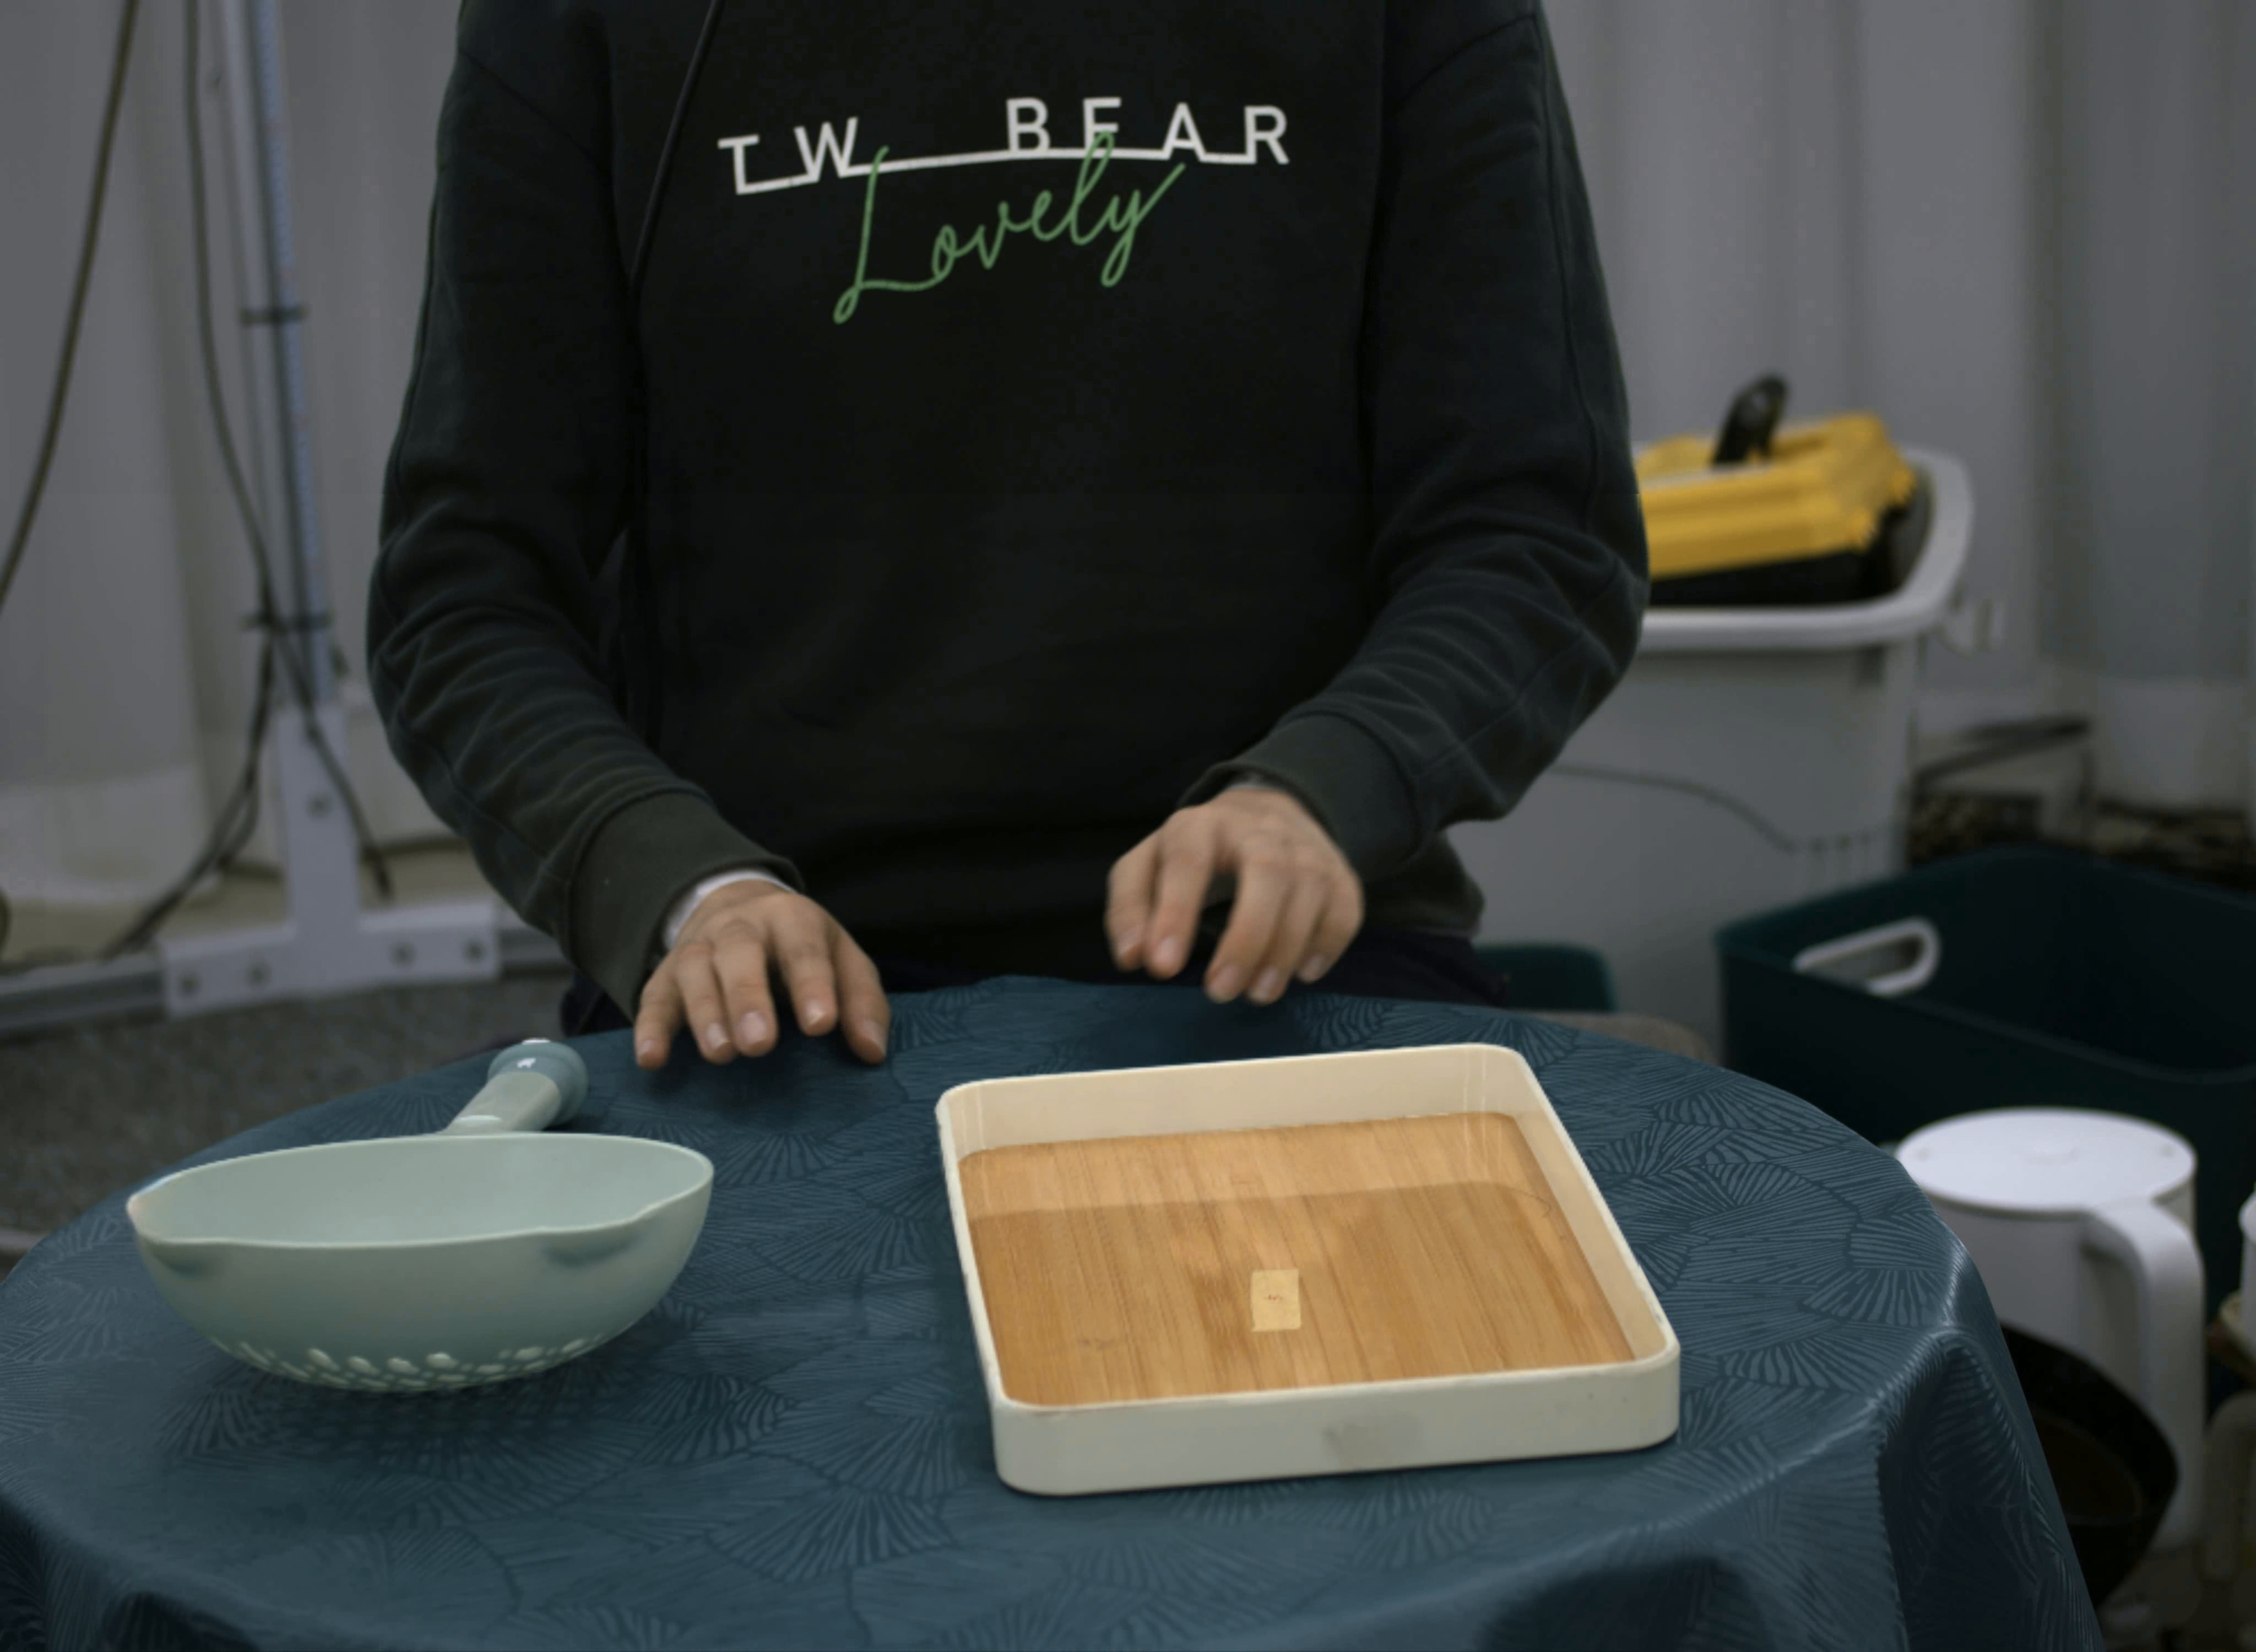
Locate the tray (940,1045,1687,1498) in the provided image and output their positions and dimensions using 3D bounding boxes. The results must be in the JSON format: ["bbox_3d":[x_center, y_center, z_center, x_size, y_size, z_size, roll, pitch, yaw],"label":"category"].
[{"bbox_3d":[0.047,0.127,1.612,0.191,0.027,0.302,-4,15,-4],"label":"tray"}]

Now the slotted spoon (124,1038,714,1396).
[{"bbox_3d":[-0.199,0.103,1.670,0.169,0.075,0.361,-1,15,2],"label":"slotted spoon"}]
